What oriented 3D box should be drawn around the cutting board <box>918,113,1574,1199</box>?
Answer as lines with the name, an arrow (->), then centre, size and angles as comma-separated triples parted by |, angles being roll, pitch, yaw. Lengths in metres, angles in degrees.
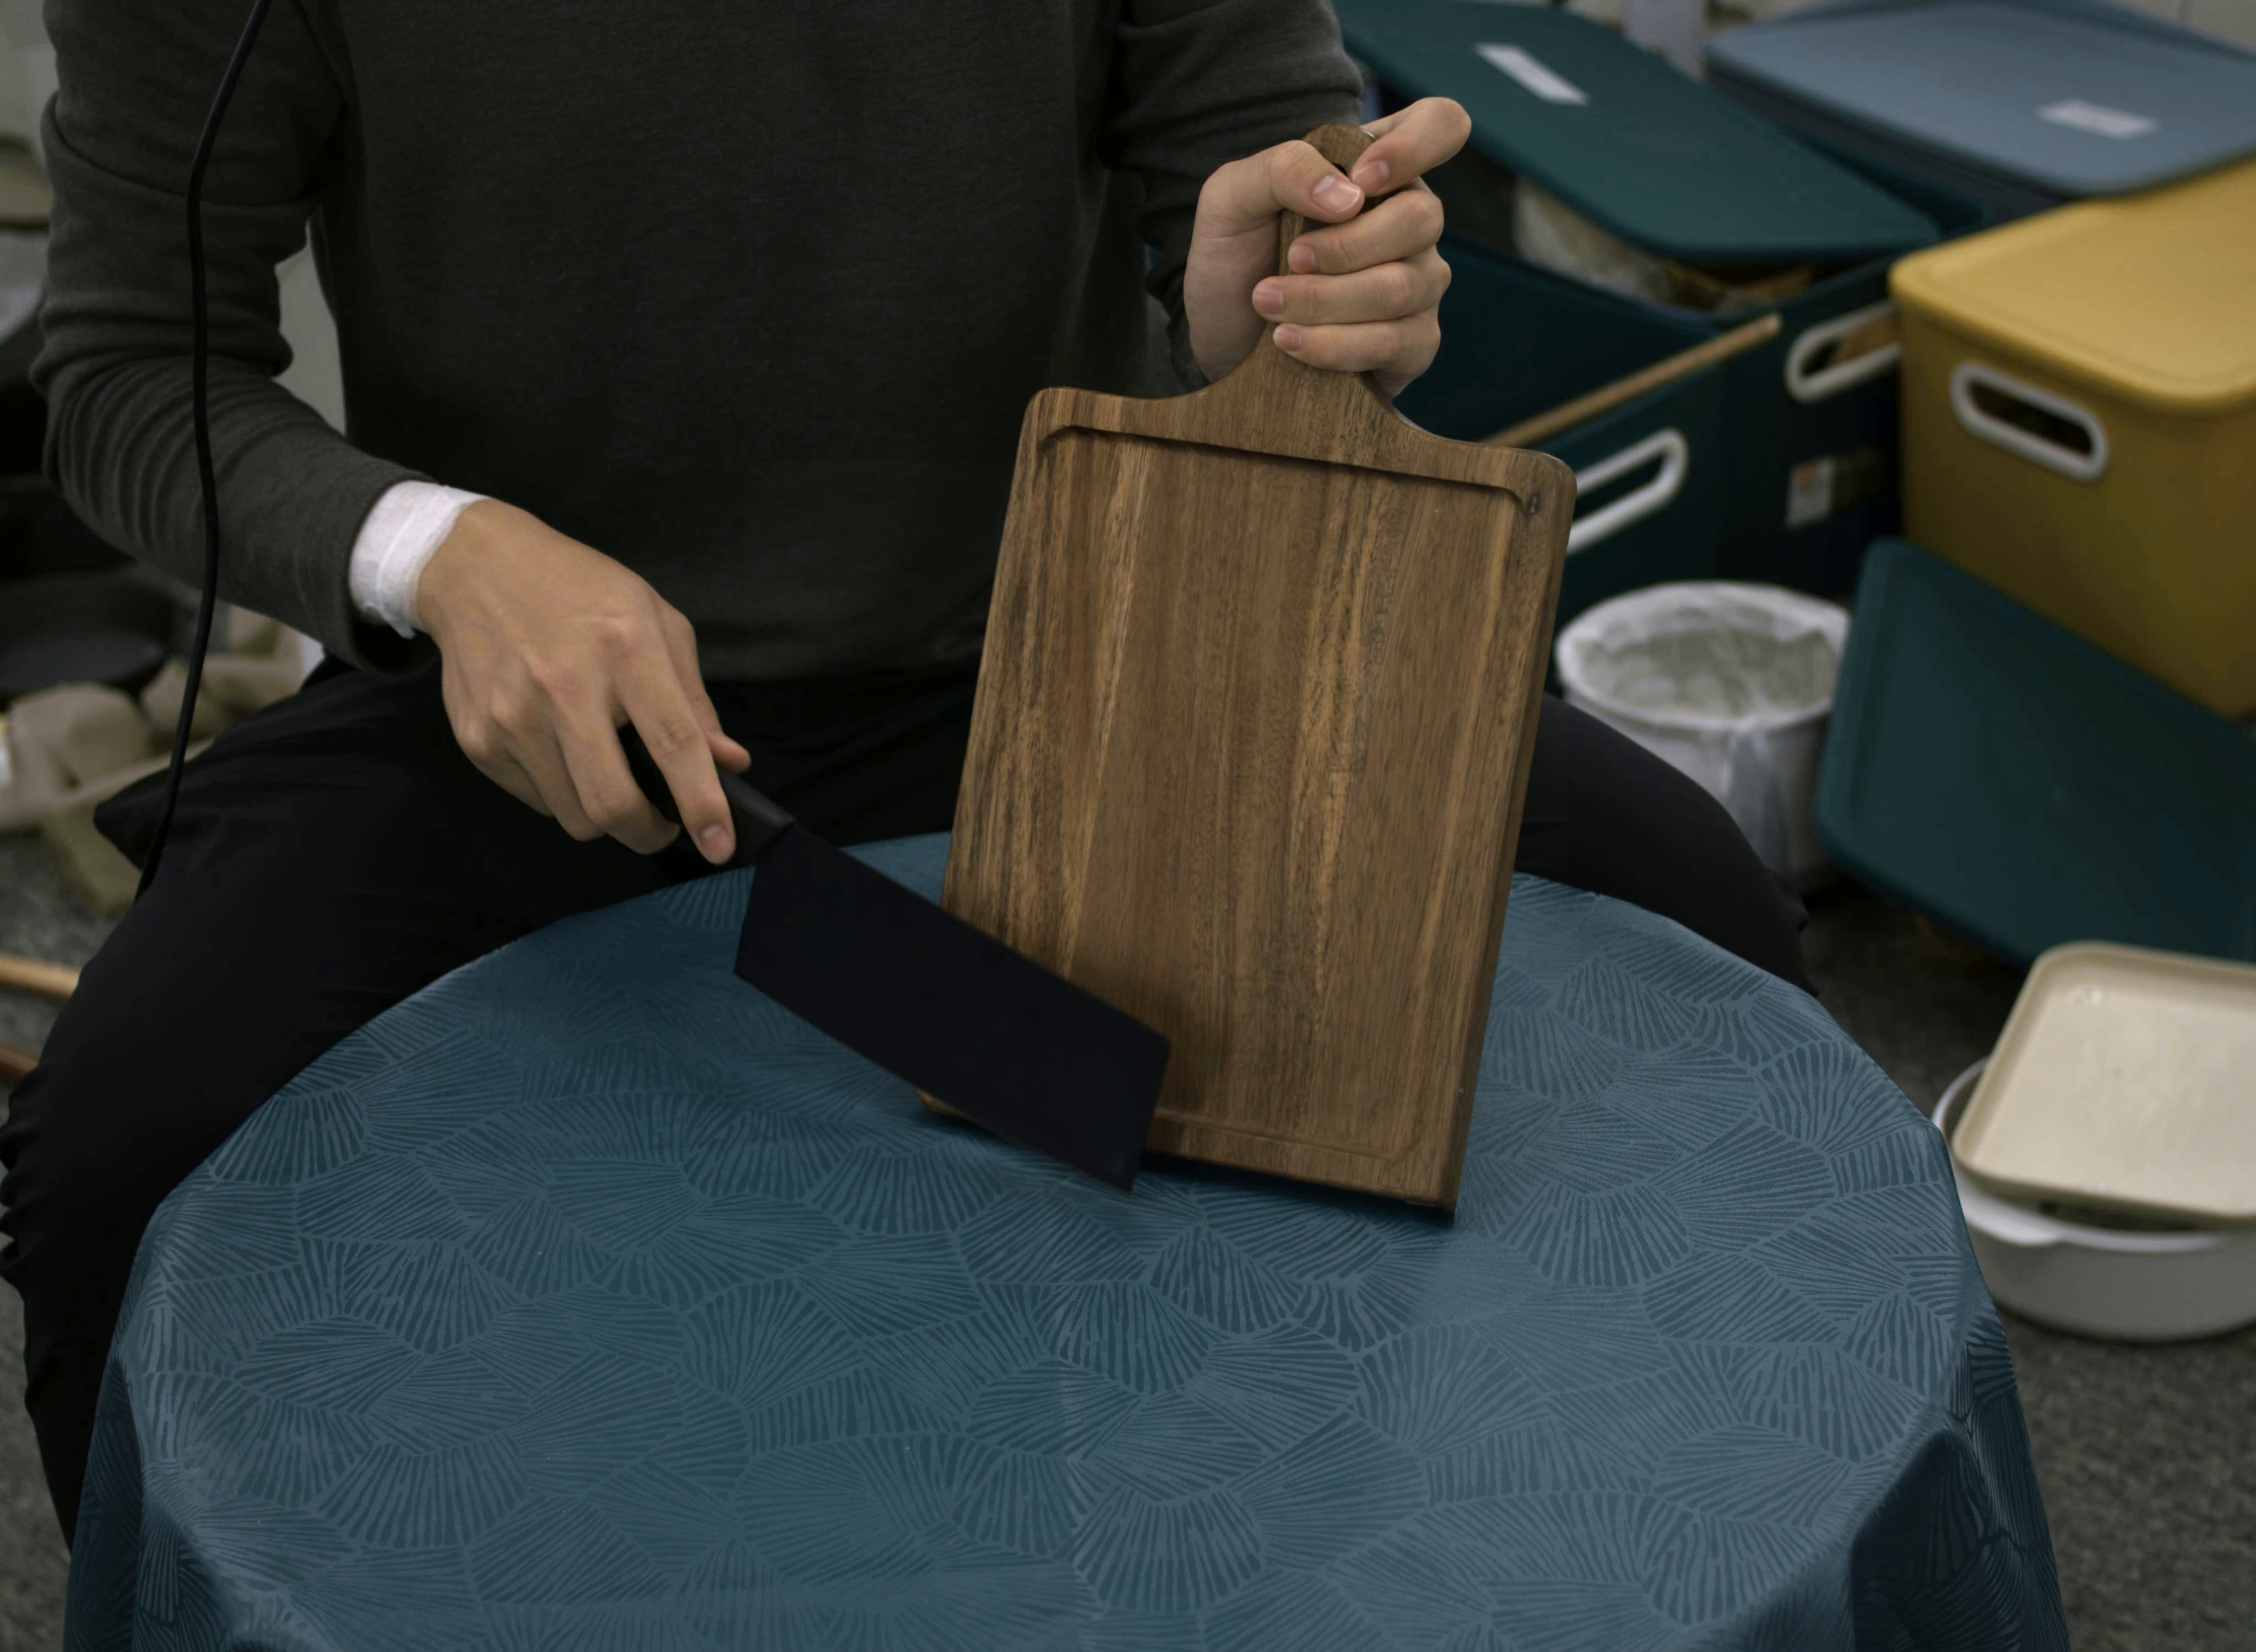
cutting board -> 0.045, -0.062, 1.880 | 0.200, 0.354, 0.023 | 8, -3, 22

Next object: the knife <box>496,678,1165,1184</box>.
knife -> -0.106, 0.030, 1.914 | 0.303, 0.080, 0.021 | 33, 27, 29
